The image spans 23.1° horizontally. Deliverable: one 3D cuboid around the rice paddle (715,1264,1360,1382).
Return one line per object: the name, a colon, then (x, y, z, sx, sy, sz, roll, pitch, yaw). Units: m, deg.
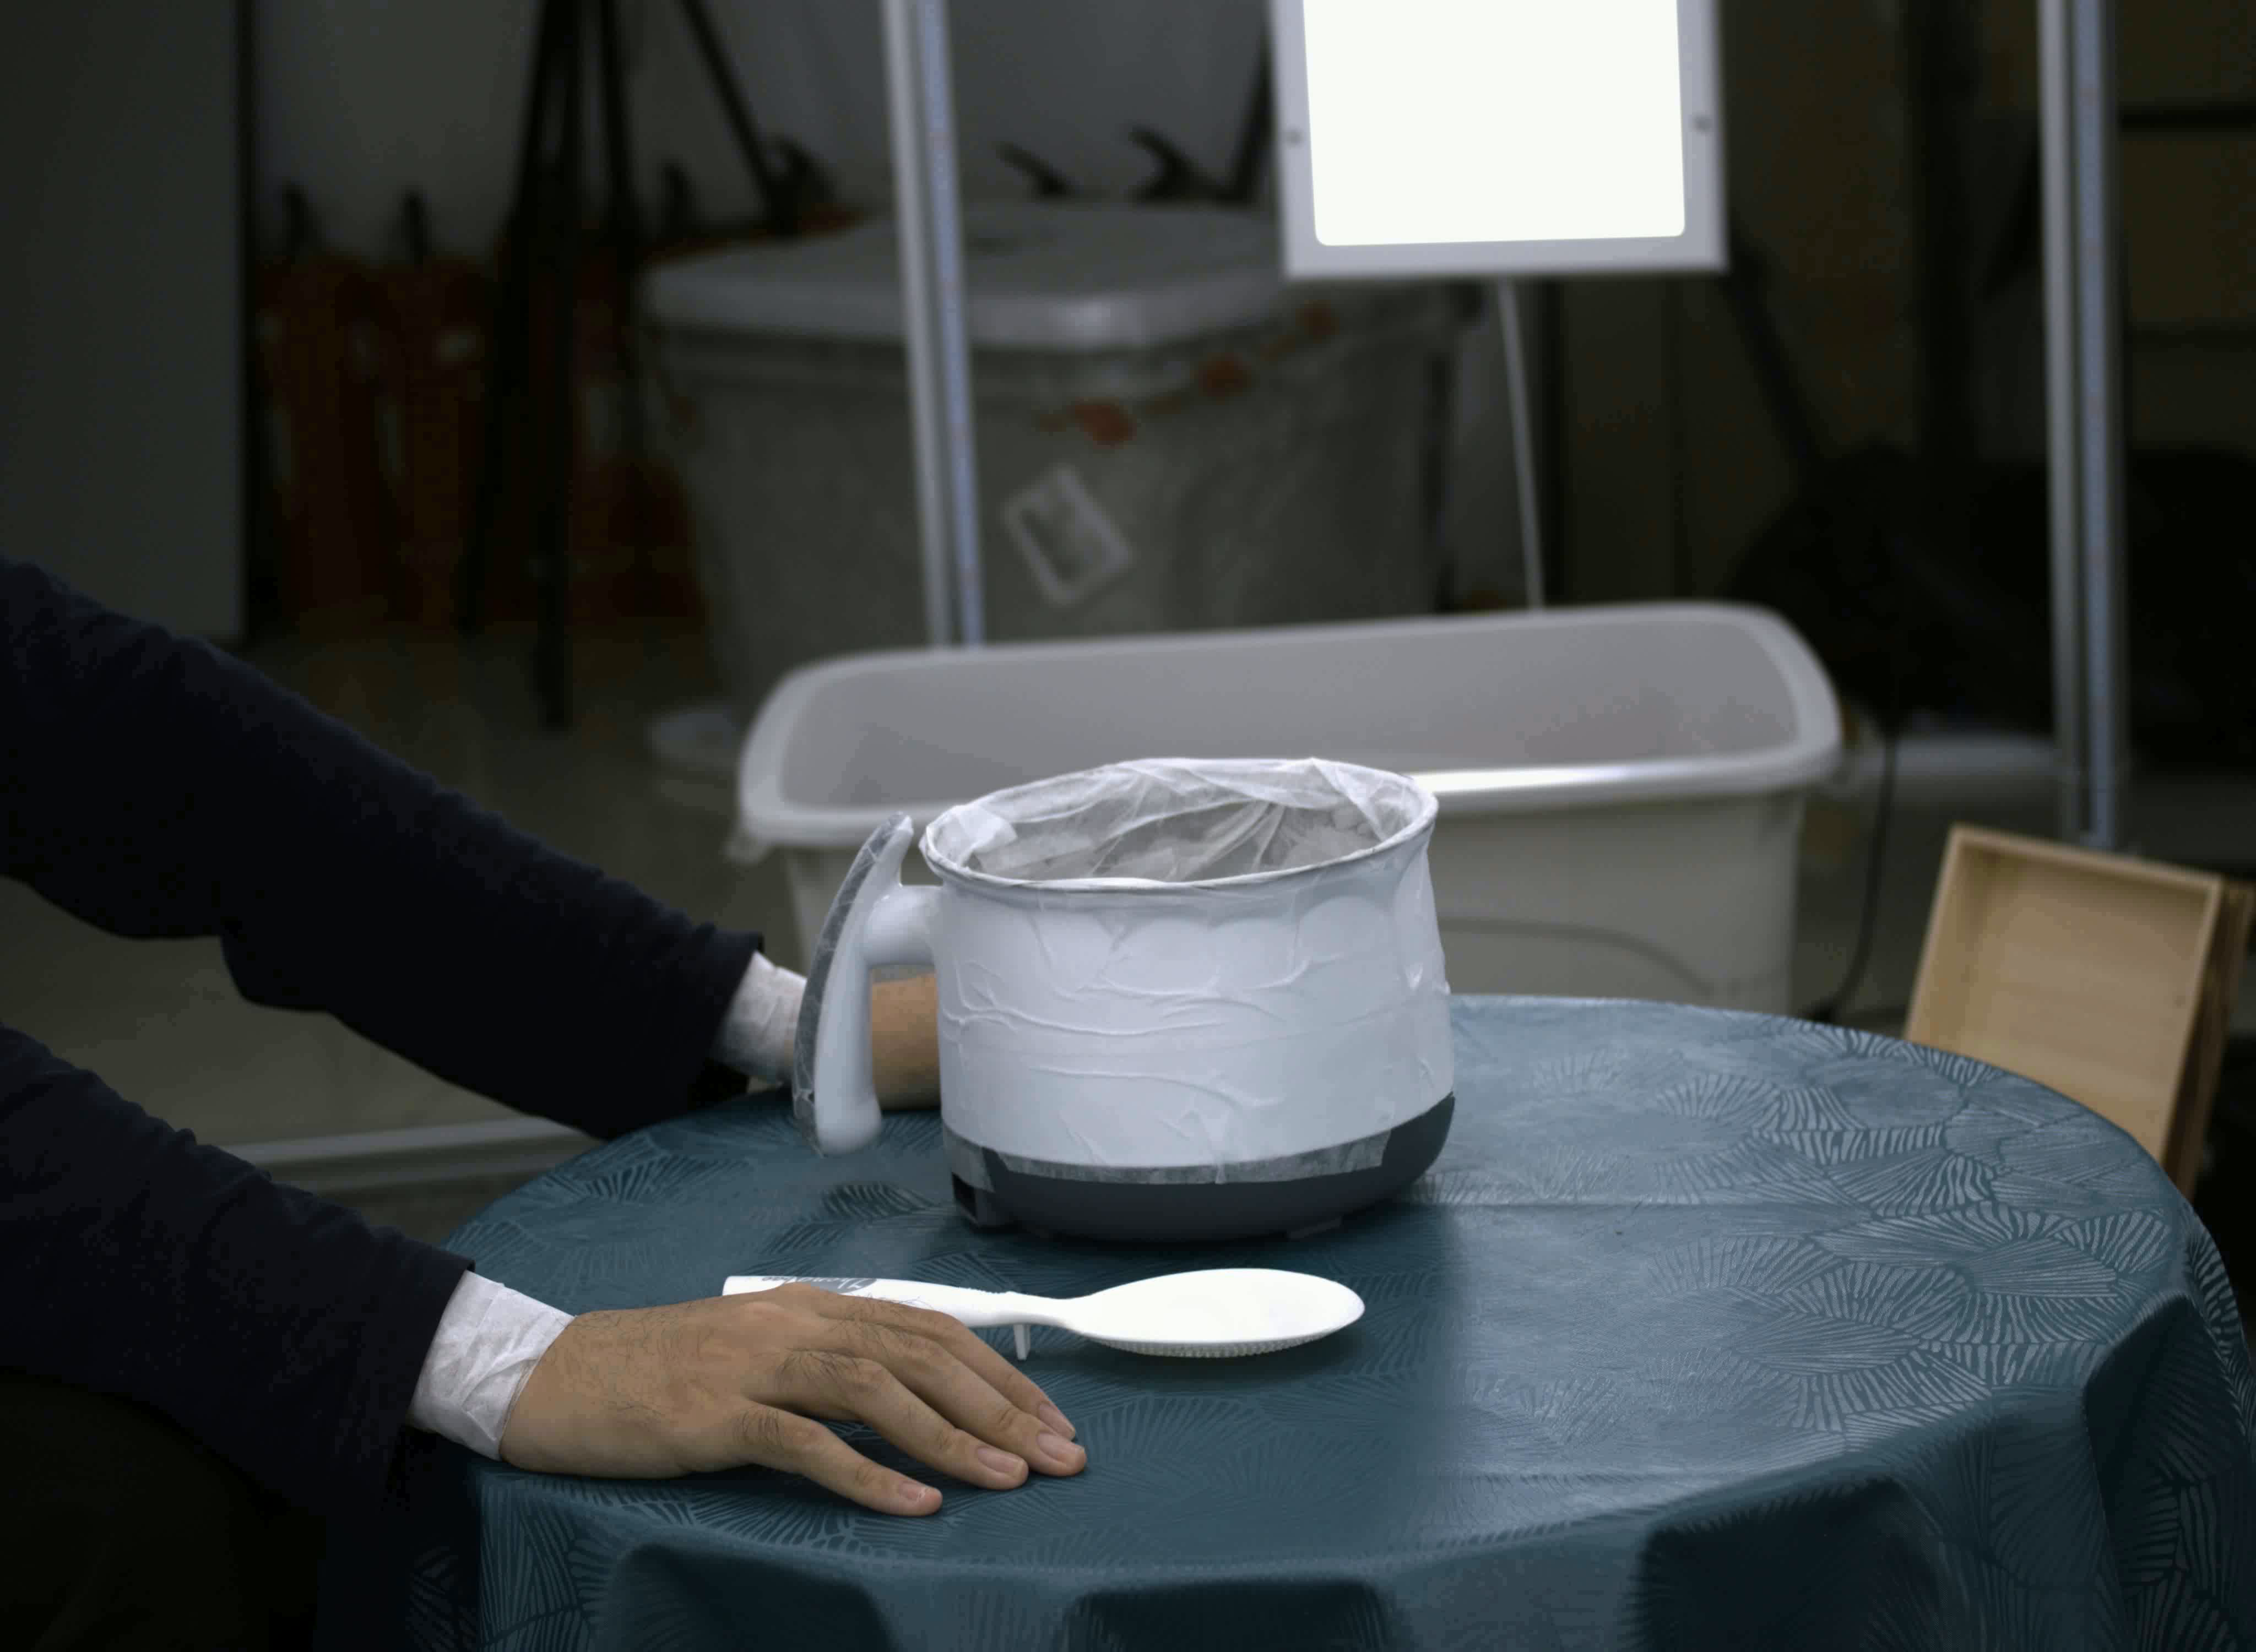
rice paddle: (-0.028, 0.154, 1.741, 0.206, 0.029, 0.068, -4, 16, 10)

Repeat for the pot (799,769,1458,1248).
pot: (-0.004, 0.063, 1.891, 0.236, 0.137, 0.176, -3, 12, 15)
